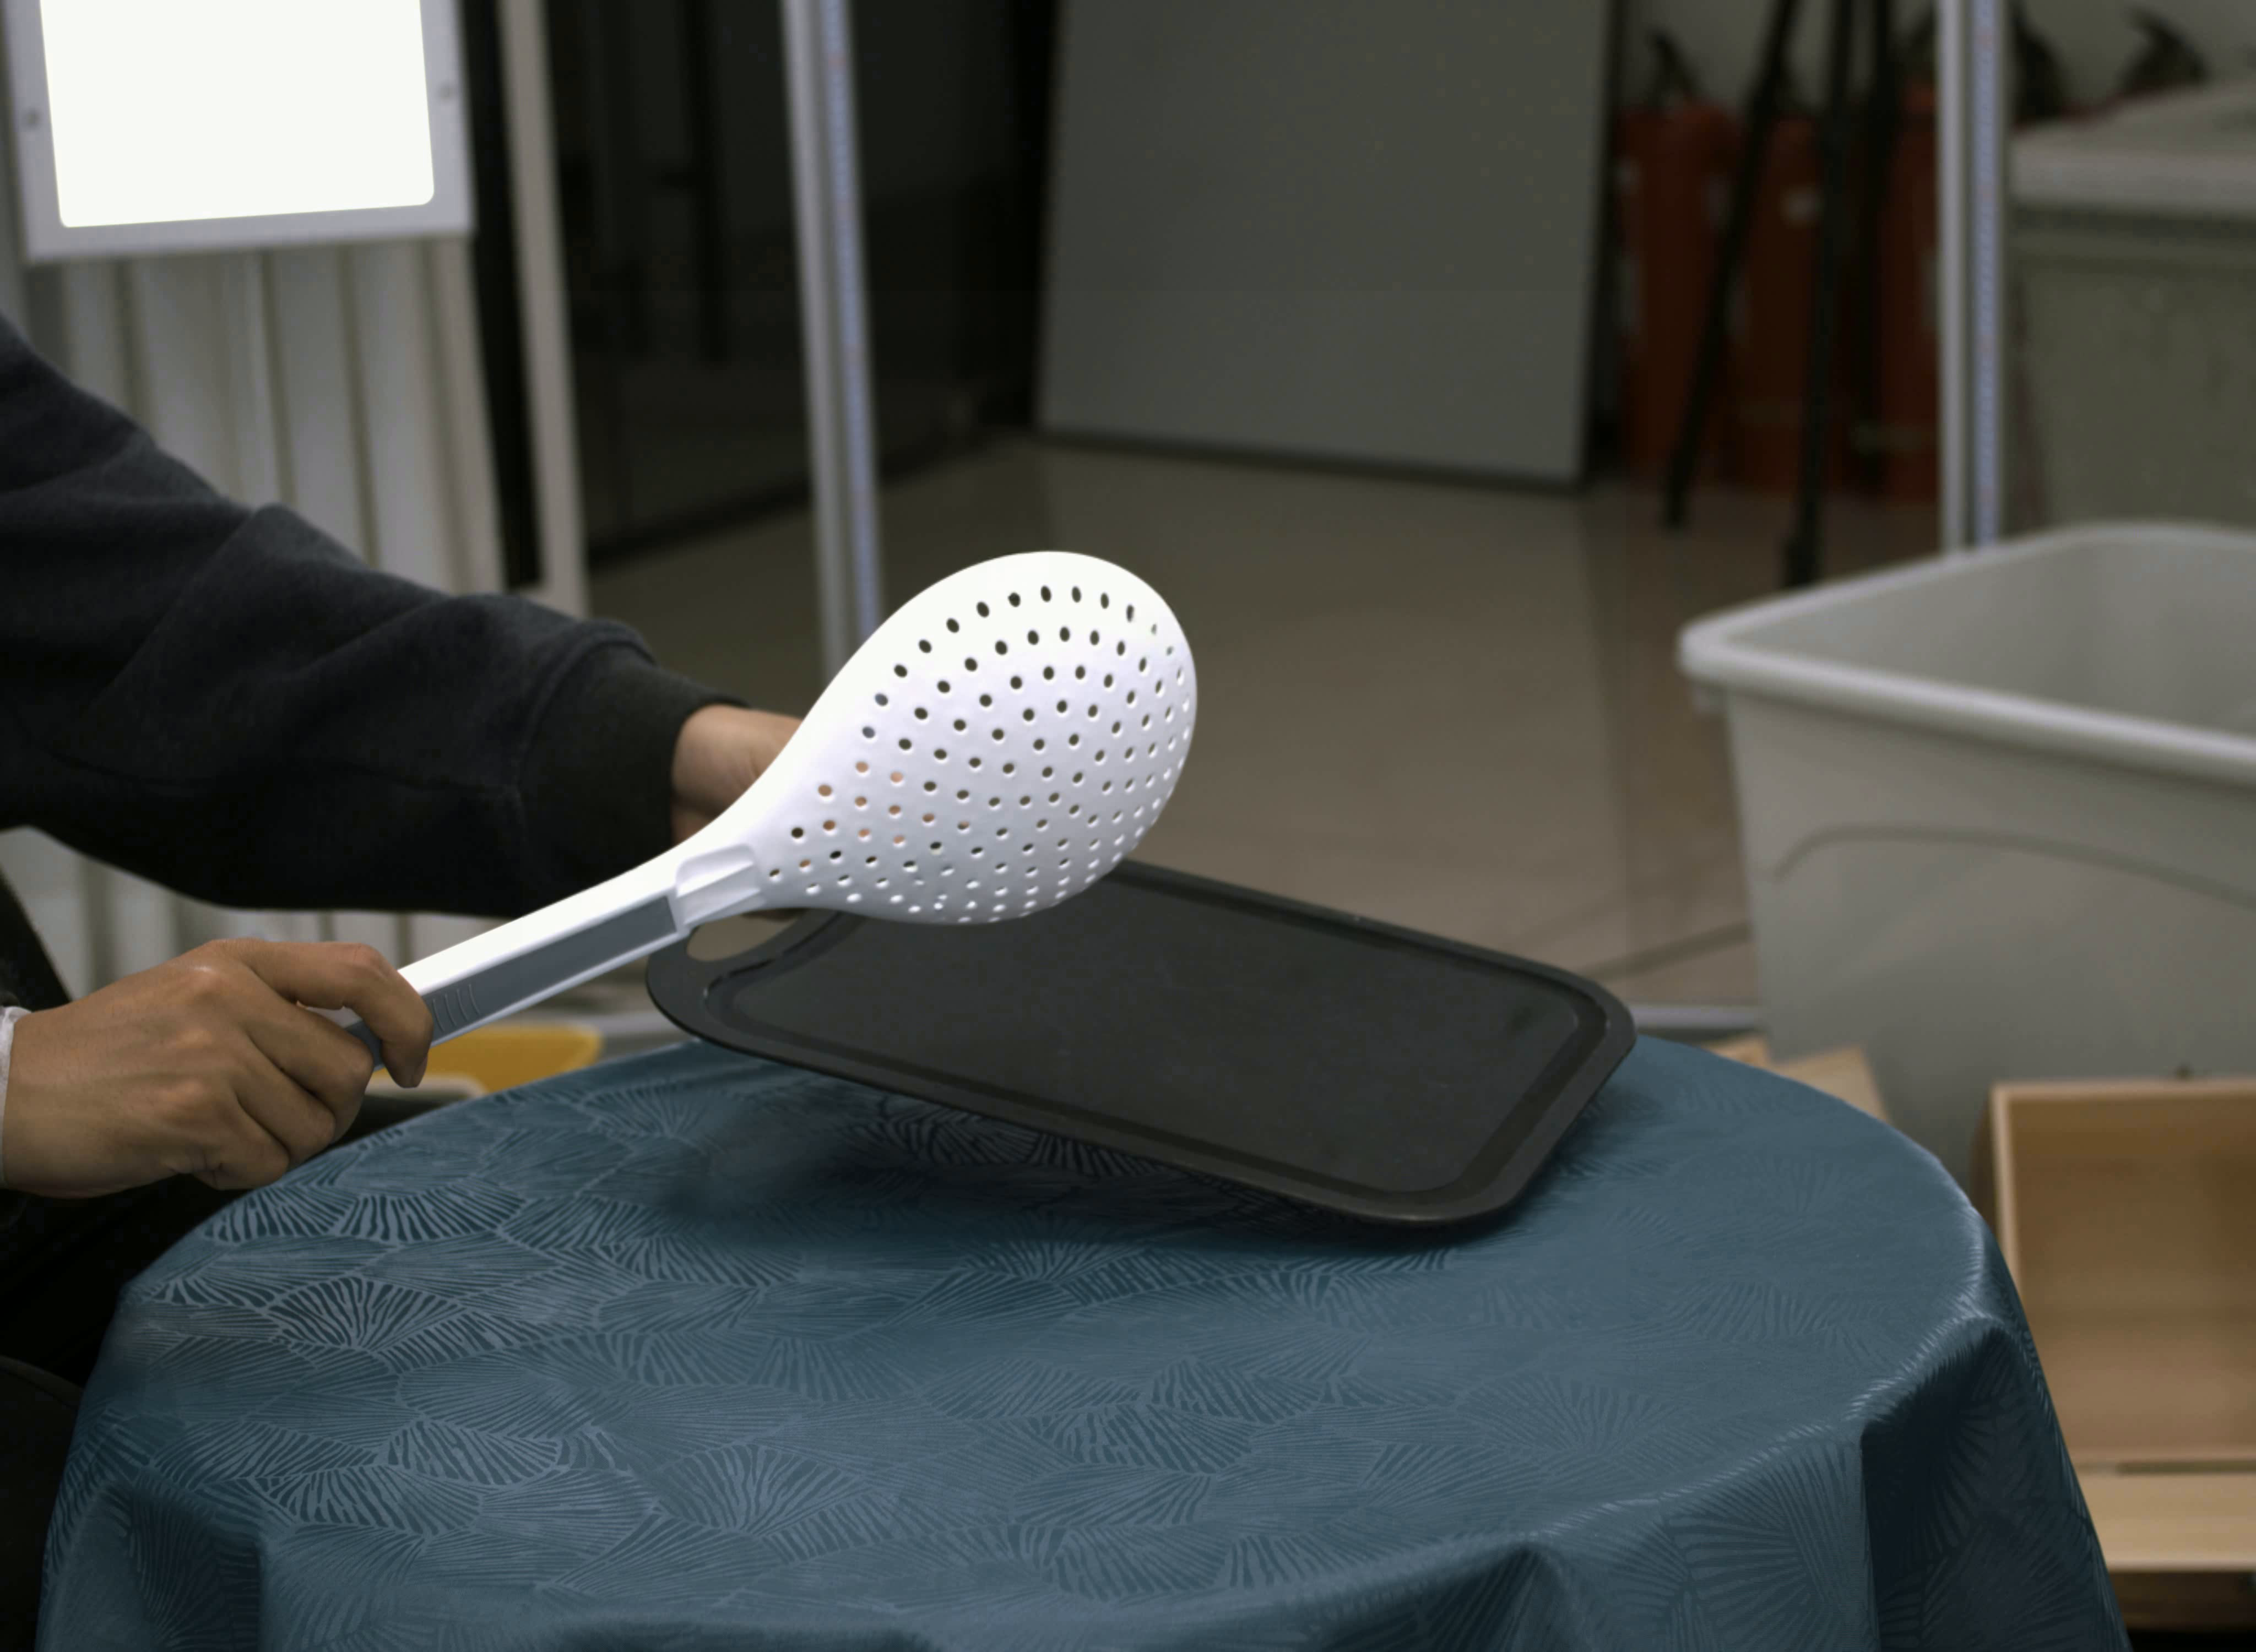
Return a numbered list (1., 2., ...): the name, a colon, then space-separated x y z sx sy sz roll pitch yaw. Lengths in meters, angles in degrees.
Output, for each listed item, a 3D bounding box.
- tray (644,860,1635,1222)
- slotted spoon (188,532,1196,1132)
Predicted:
1. tray: -0.001 0.060 1.813 0.325 0.010 0.209 14 25 20
2. slotted spoon: -0.131 0.014 1.698 0.345 0.136 0.046 -21 34 -9
